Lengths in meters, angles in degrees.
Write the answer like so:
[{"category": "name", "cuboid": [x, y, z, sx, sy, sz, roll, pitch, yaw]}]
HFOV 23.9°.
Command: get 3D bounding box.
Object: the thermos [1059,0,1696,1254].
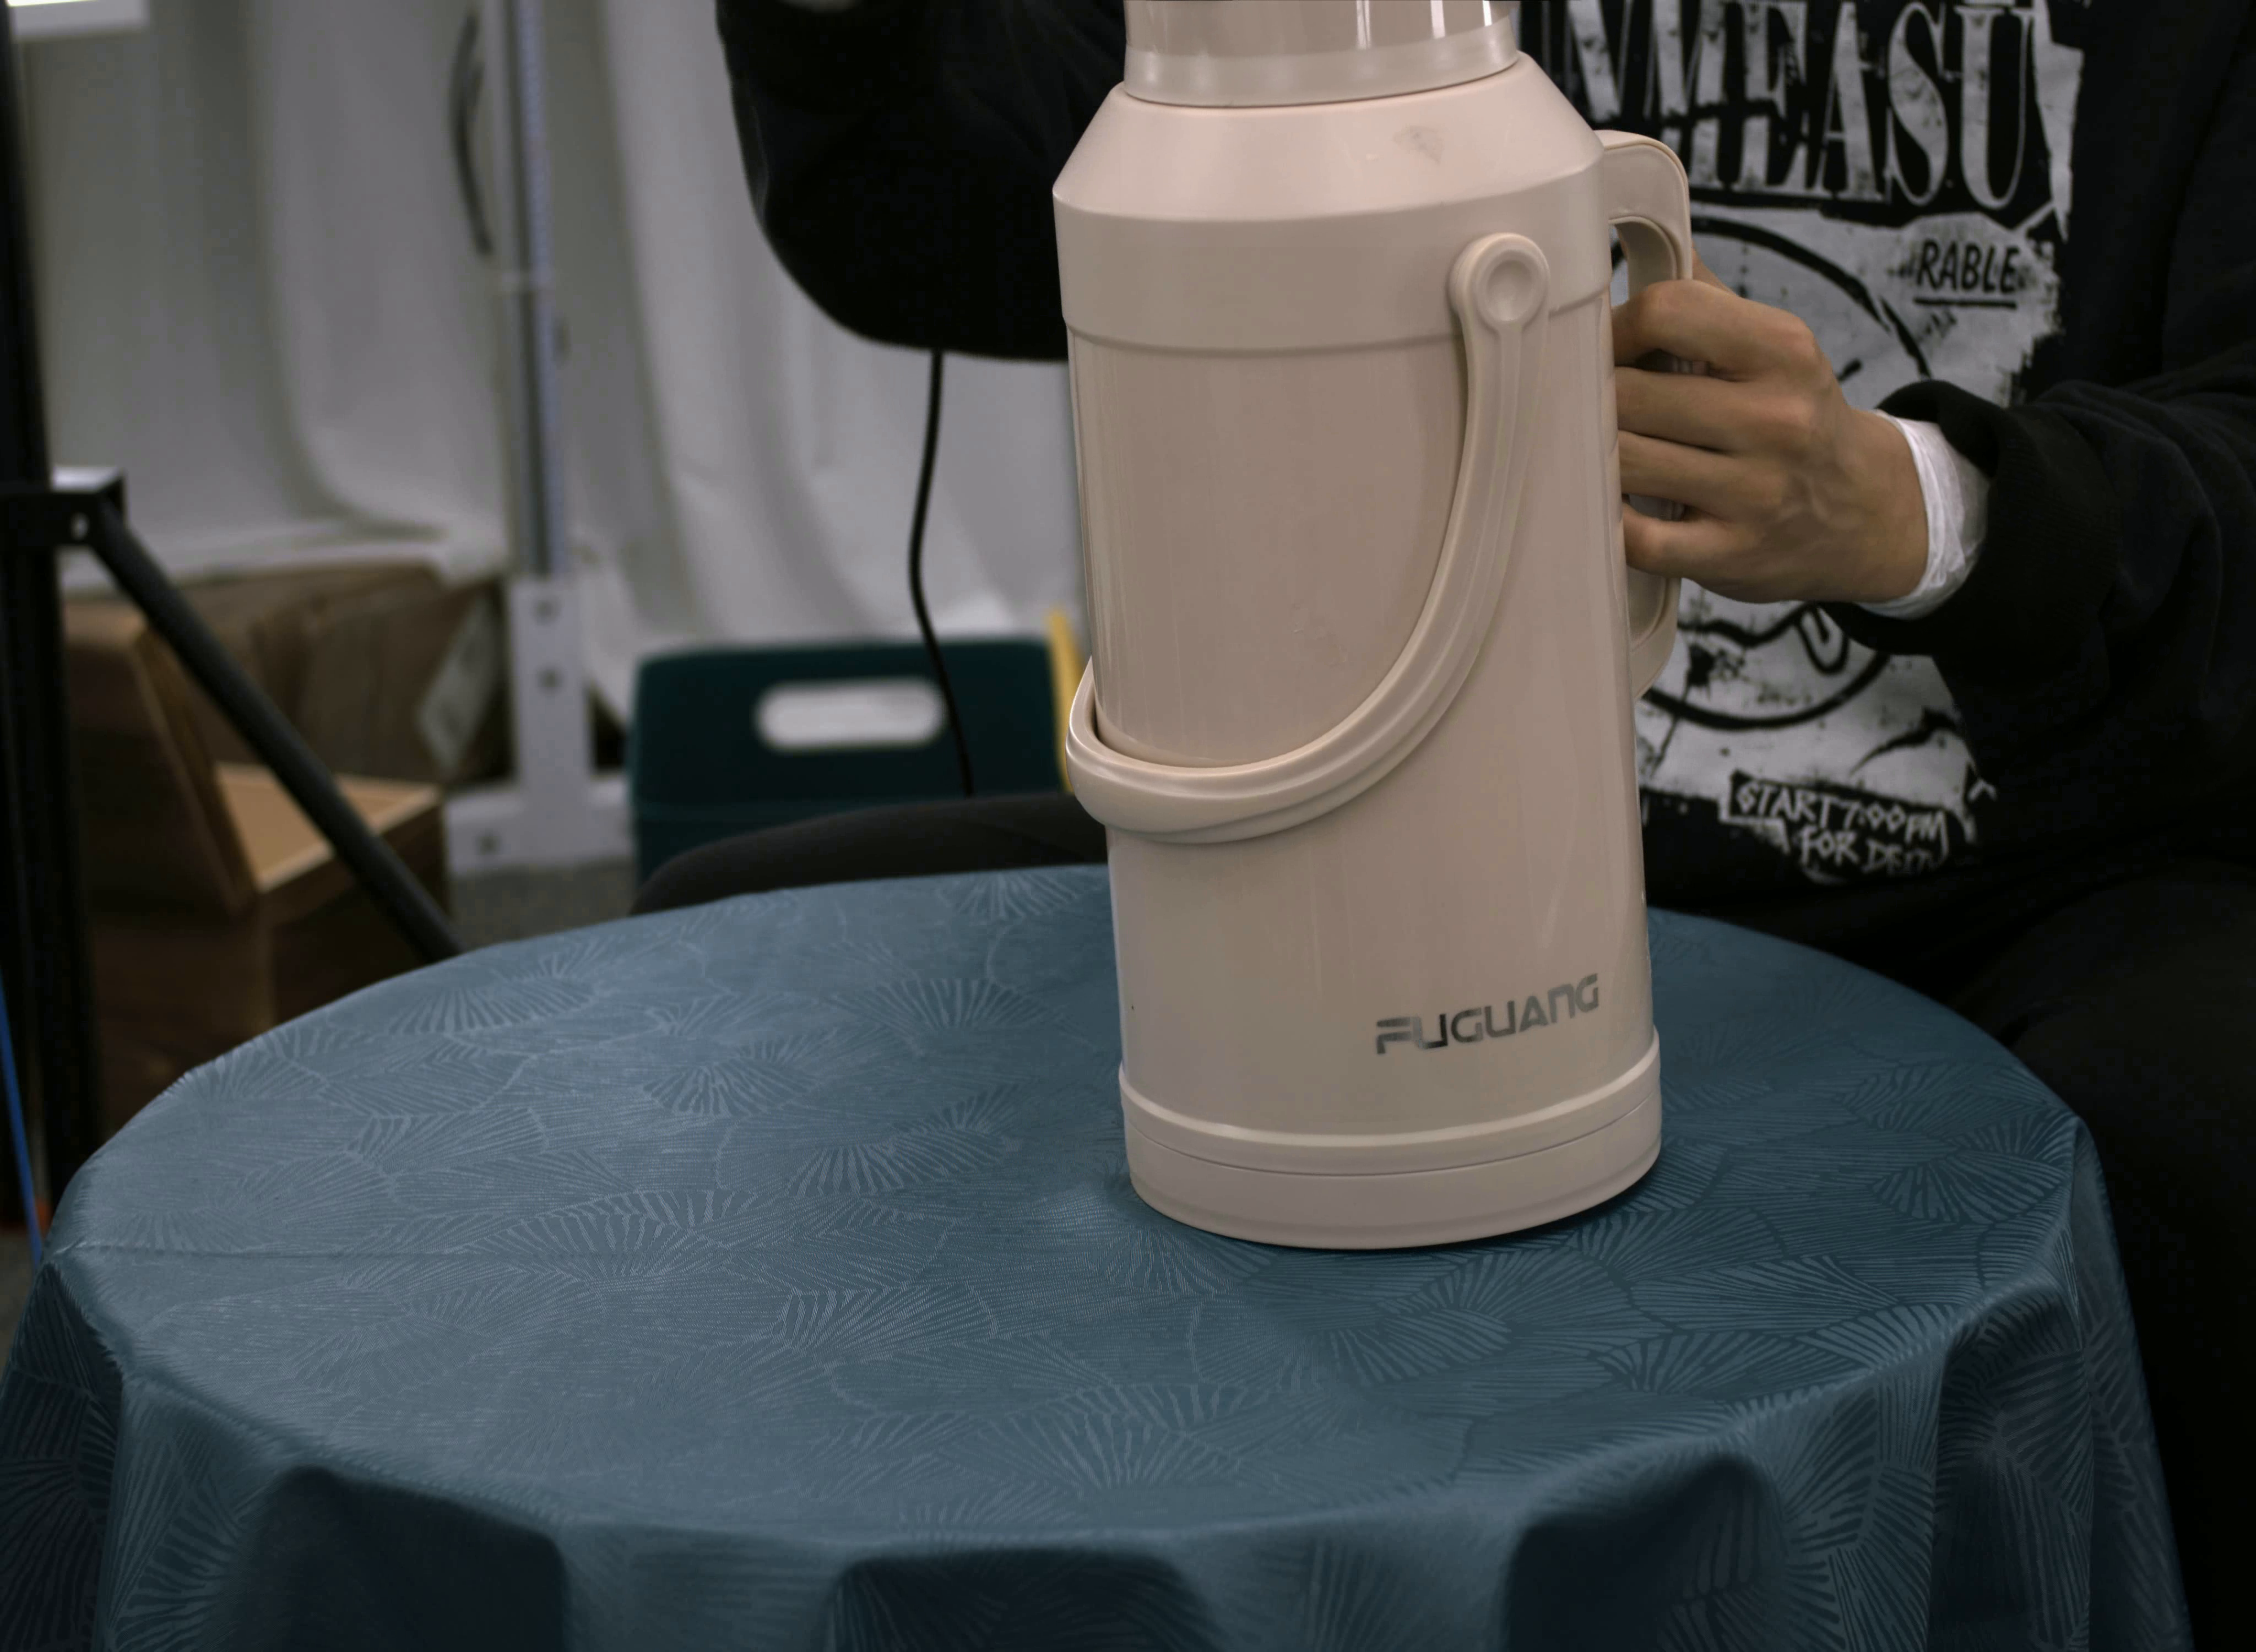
[{"category": "thermos", "cuboid": [0.078, -0.095, 1.521, 0.202, 0.406, 0.179, -14, 16, -29]}]
